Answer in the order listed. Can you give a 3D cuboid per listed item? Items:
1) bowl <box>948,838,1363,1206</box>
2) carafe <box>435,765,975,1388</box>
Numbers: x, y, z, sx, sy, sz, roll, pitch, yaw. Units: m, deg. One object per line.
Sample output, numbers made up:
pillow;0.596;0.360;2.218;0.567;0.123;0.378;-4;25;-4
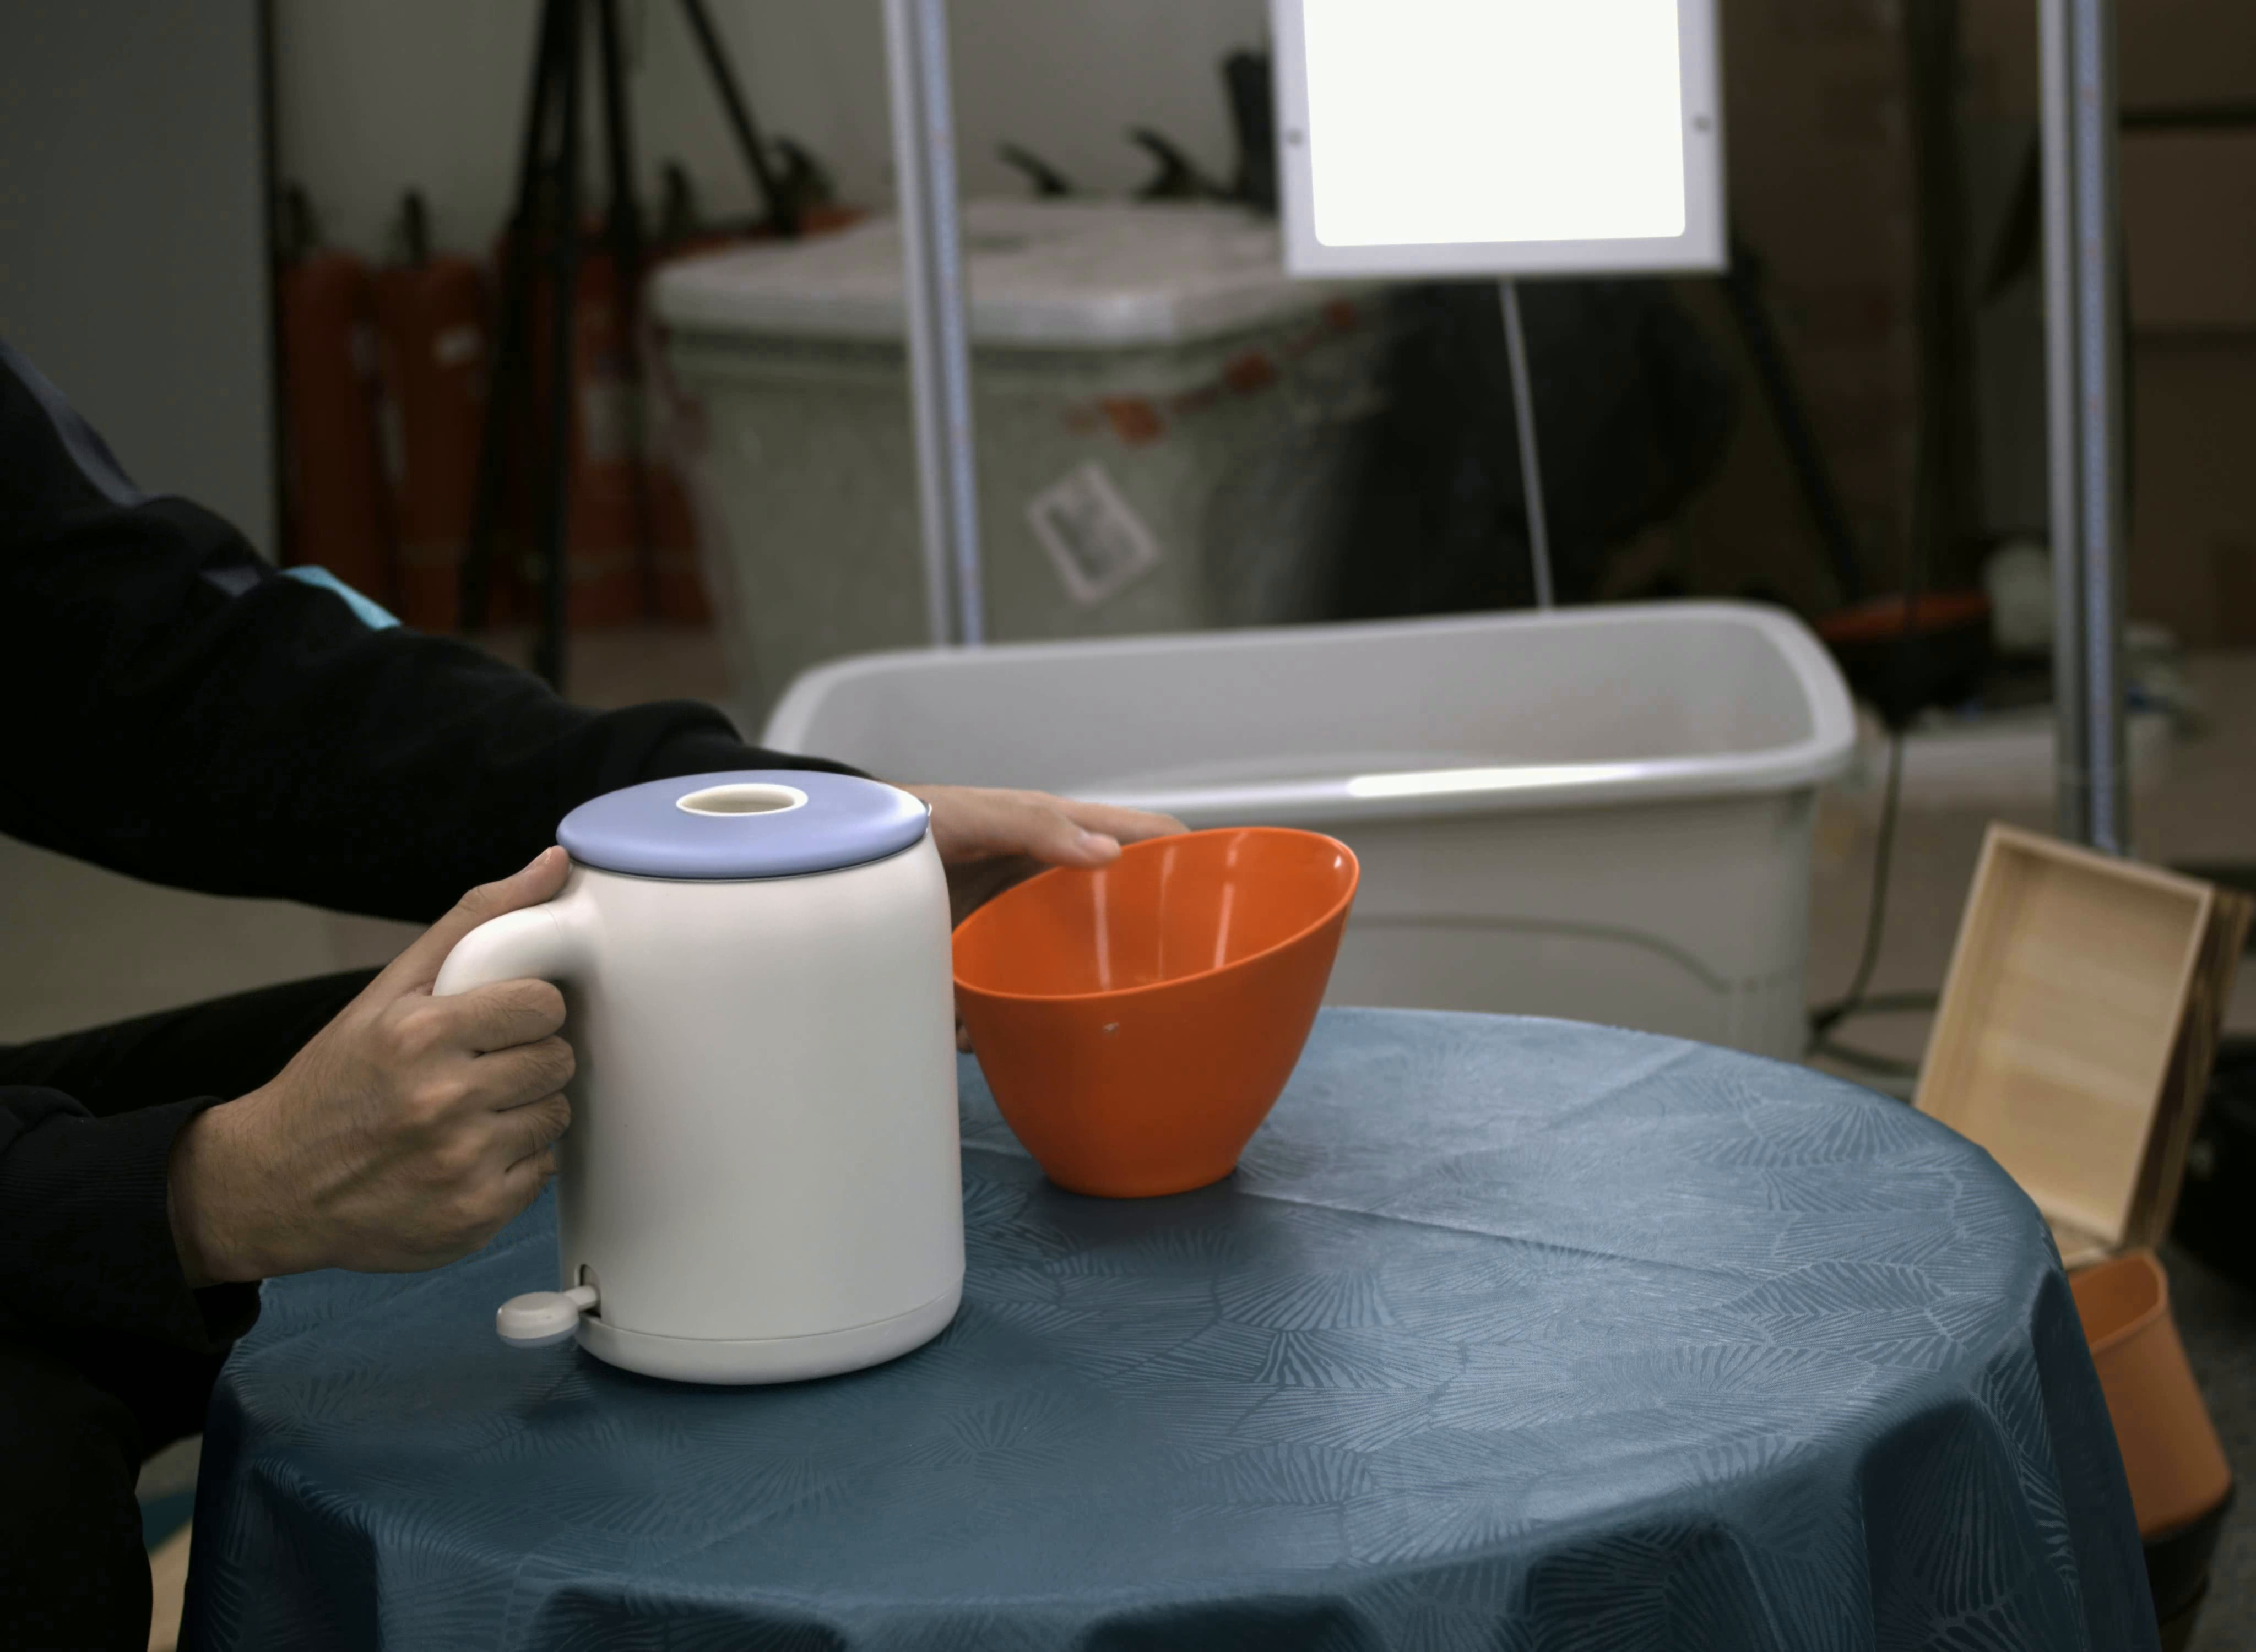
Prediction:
bowl;0.012;0.071;1.908;0.147;0.105;0.148;-5;14;0
carafe;-0.138;0.084;1.751;0.186;0.183;0.135;-15;17;-33
